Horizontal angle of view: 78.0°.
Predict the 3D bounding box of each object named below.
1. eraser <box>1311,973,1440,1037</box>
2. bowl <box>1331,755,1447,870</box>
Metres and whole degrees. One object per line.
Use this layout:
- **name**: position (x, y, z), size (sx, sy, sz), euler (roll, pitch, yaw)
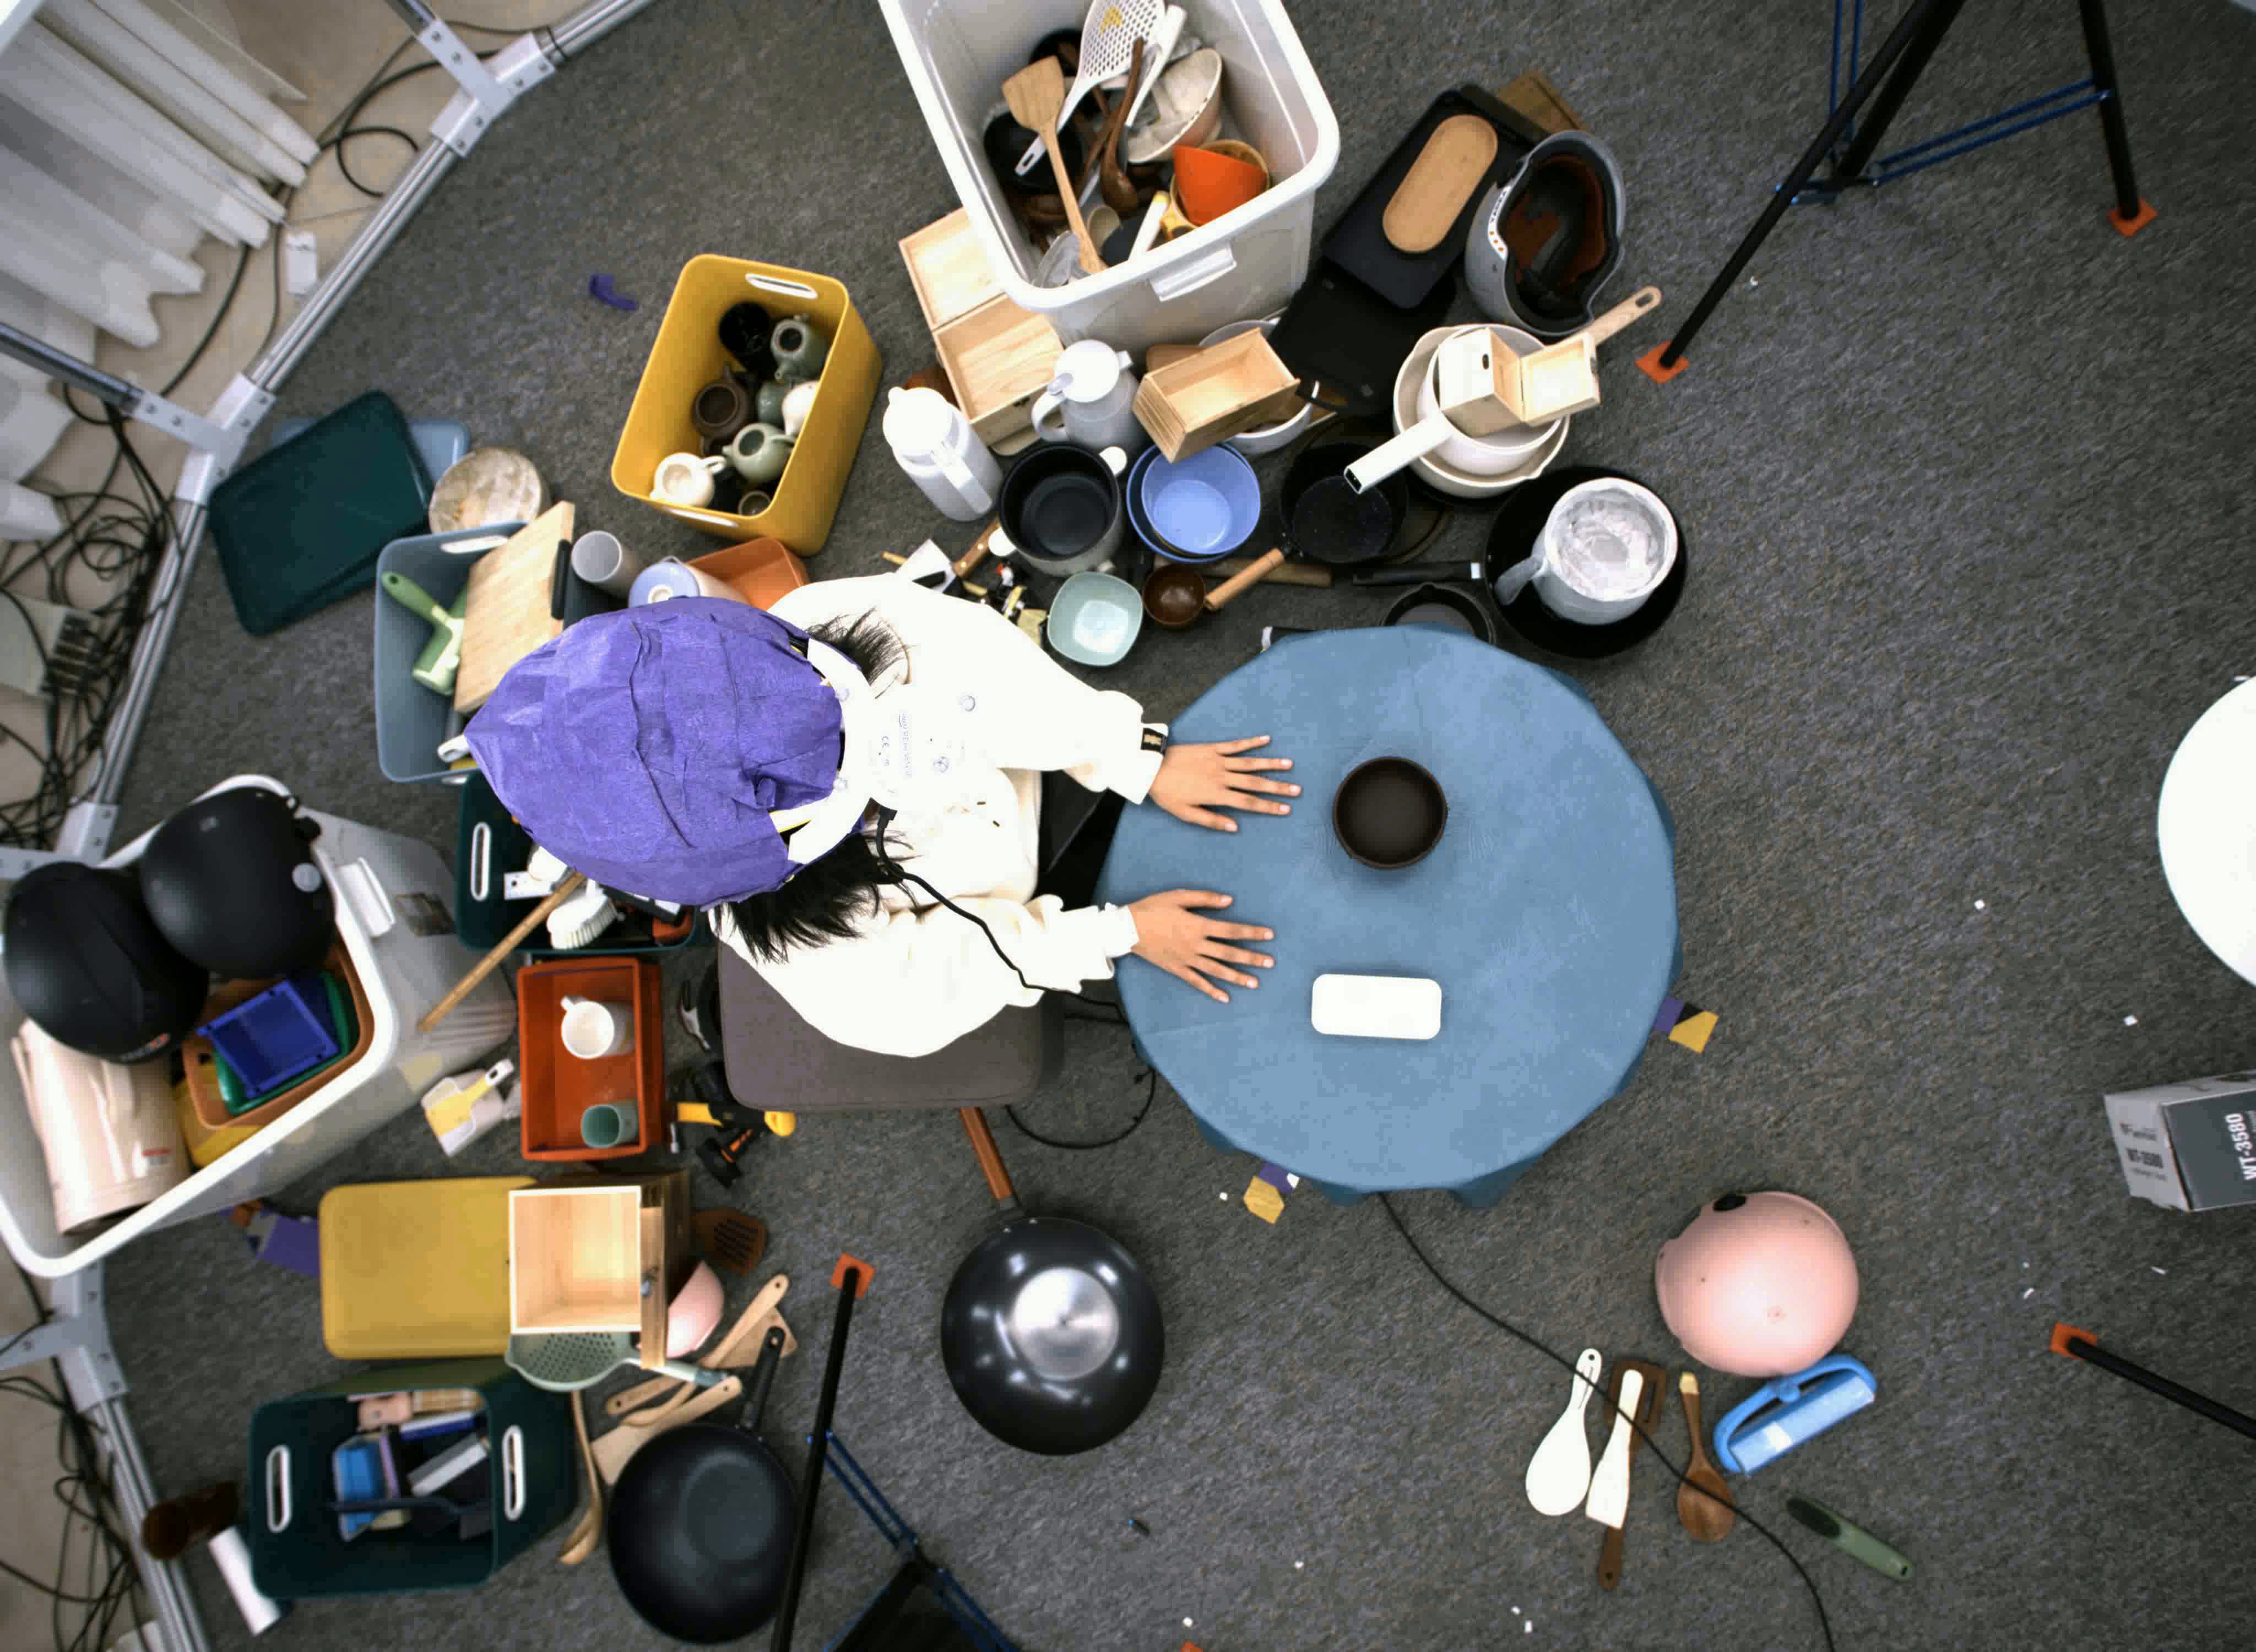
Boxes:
- **eraser**: position (0.257, 0.184, 1.441), size (0.132, 0.034, 0.063), euler (2, 87, 10)
- **bowl**: position (0.270, -0.012, 1.428), size (0.118, 0.070, 0.117), euler (-1, 84, 11)
